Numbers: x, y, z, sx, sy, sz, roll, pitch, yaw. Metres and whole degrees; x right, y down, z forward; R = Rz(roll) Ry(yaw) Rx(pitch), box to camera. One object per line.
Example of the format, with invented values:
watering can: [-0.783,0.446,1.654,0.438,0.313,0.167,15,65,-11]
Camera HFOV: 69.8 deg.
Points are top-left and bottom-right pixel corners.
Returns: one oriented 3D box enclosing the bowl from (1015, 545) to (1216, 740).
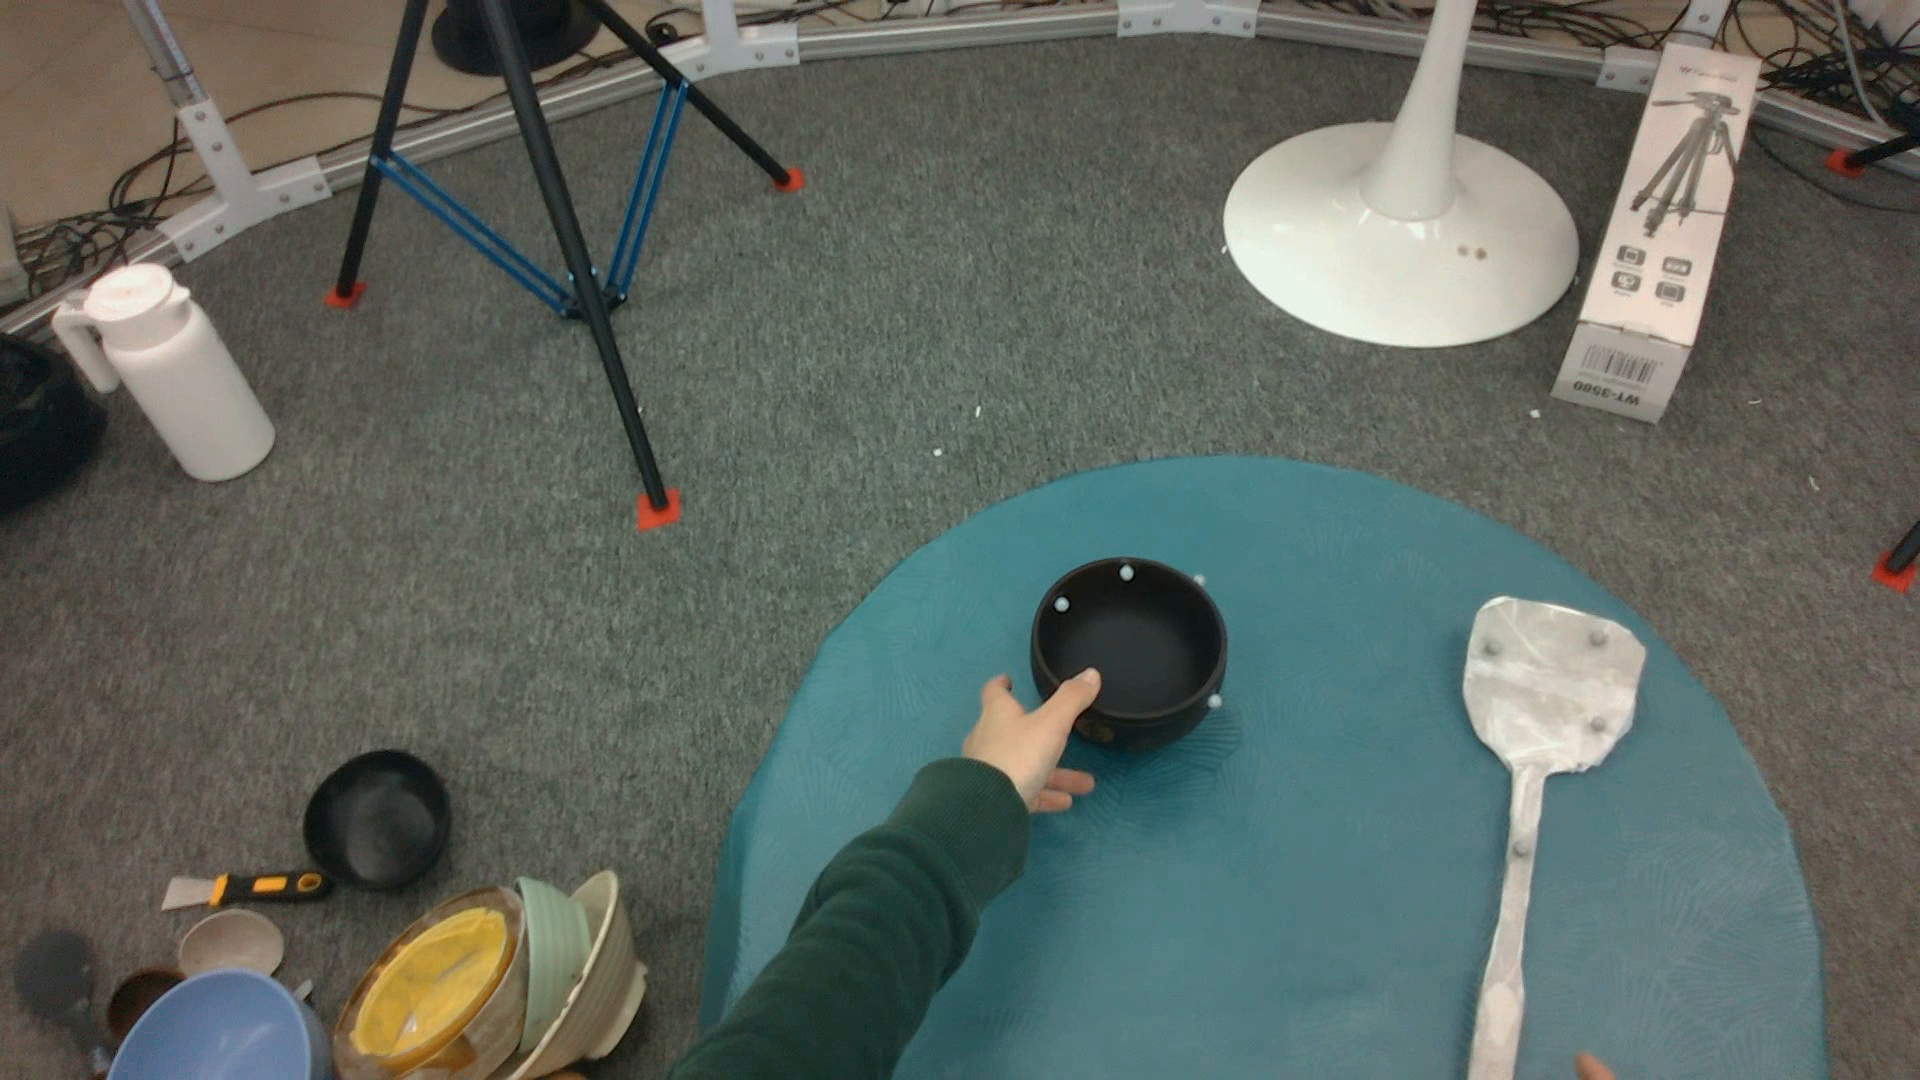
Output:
bowl: [0.092,0.068,0.827,0.118,0.069,0.118,-2,52,3]

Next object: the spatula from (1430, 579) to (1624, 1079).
spatula: [0.295,0.176,0.756,0.098,0.044,0.367,18,54,12]
